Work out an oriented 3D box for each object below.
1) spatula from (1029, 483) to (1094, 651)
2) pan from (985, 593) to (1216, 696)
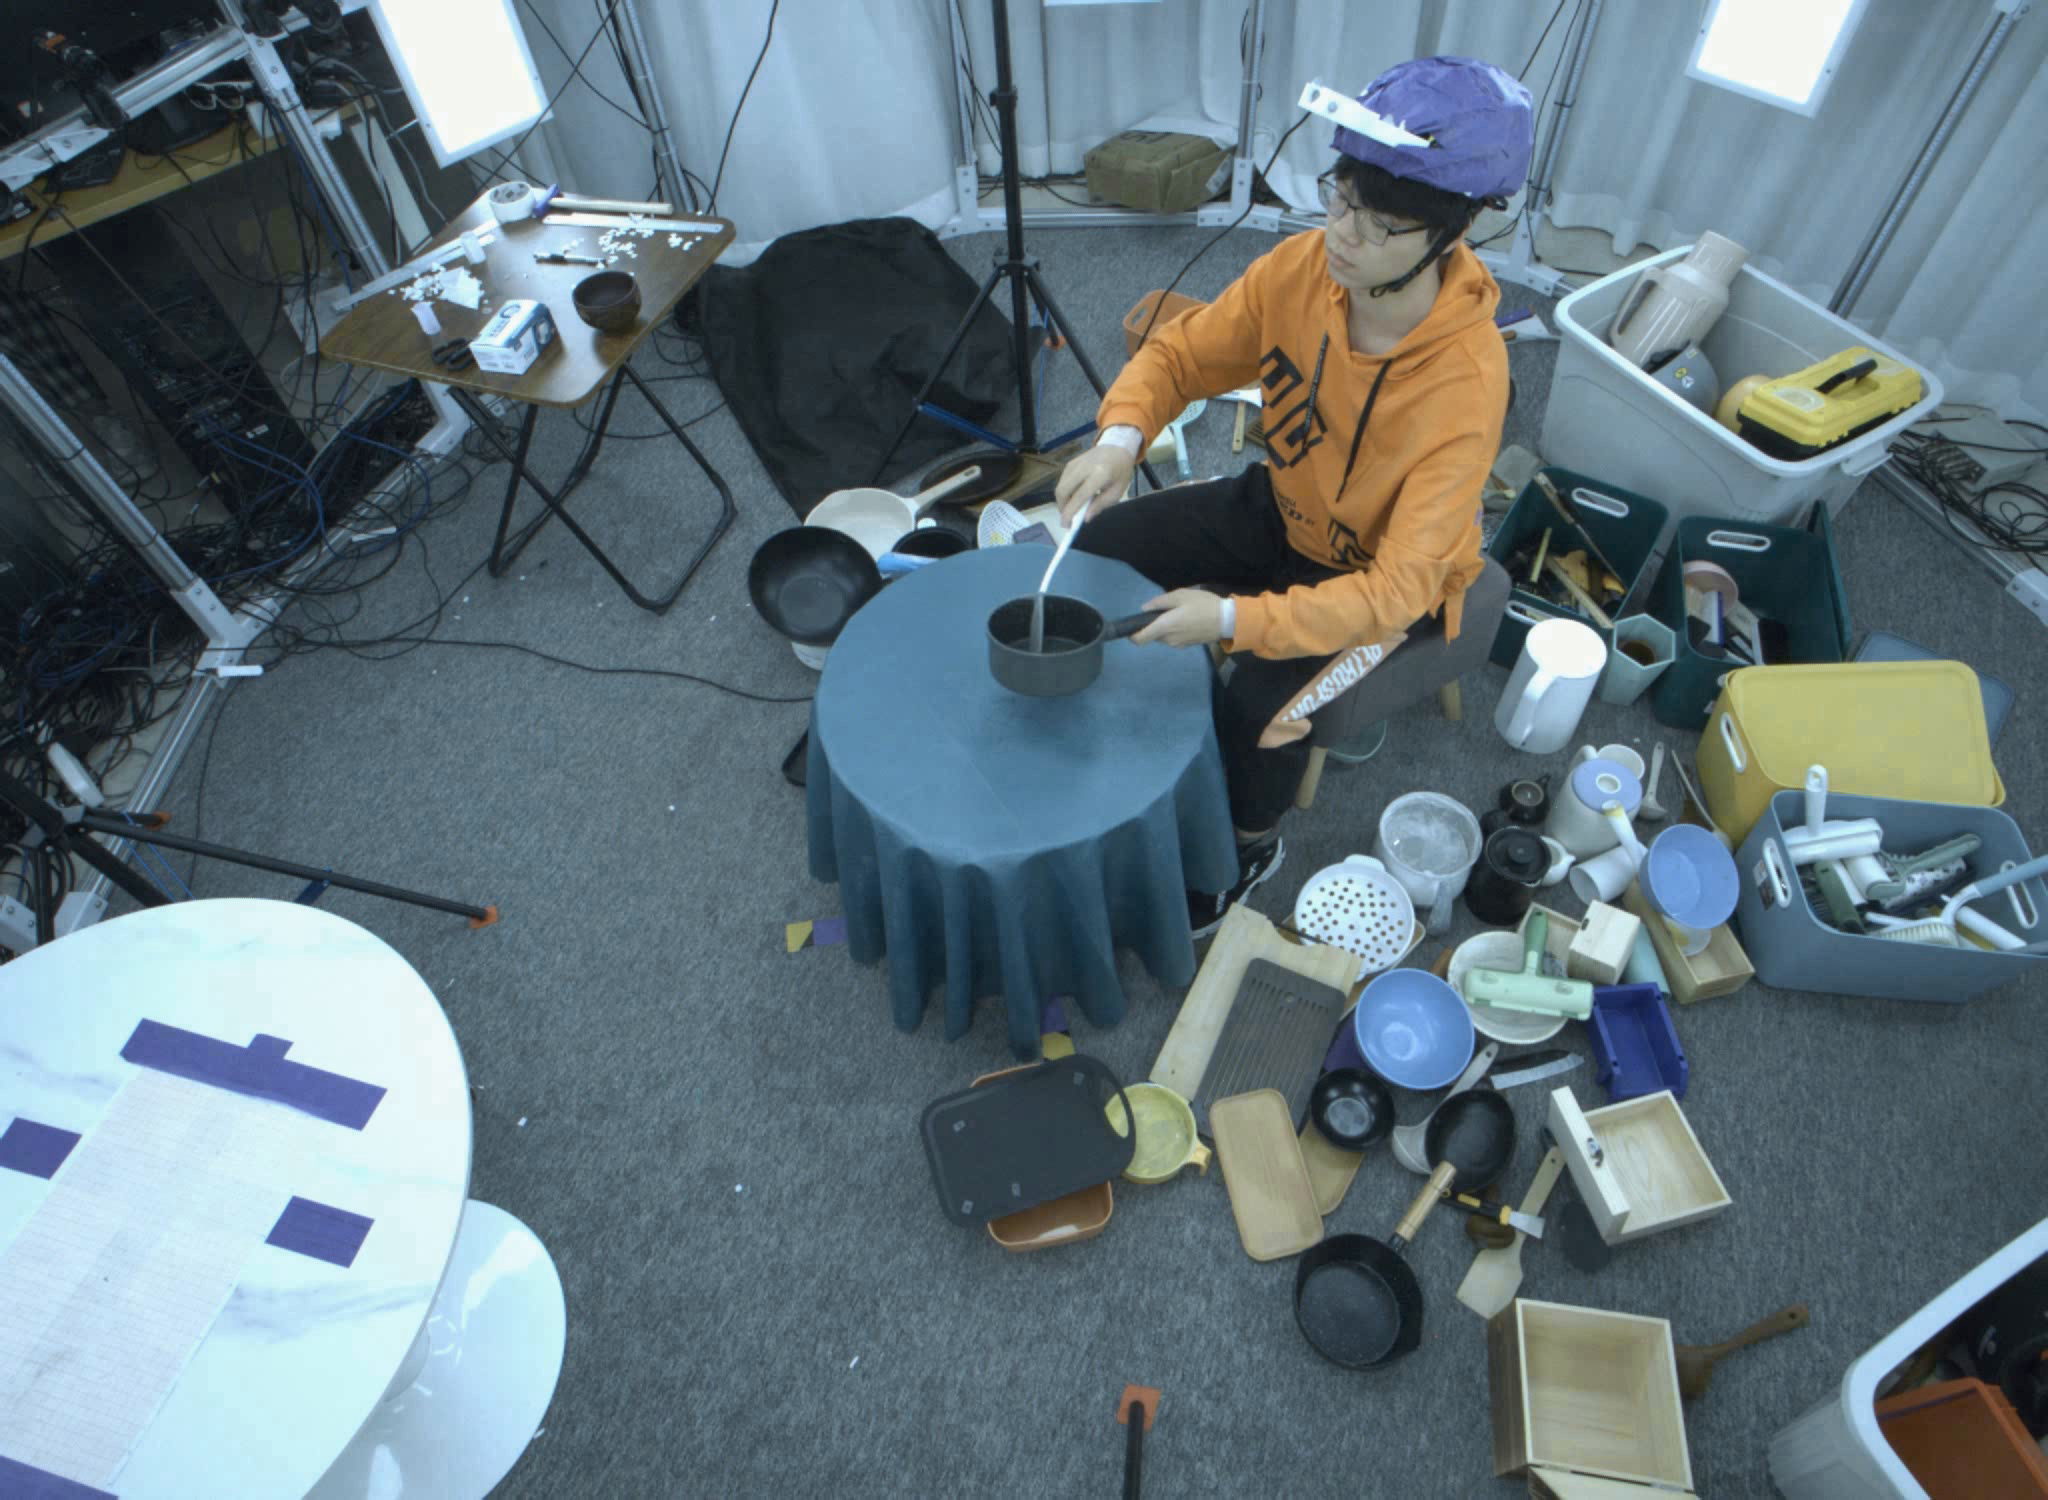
[{"bbox_3d":[0.045,-0.248,1.743,0.033,0.058,0.287,21,76,-20],"label":"spatula"},{"bbox_3d":[0.110,-0.159,1.756,0.330,0.087,0.169,-6,38,-7],"label":"pan"}]
